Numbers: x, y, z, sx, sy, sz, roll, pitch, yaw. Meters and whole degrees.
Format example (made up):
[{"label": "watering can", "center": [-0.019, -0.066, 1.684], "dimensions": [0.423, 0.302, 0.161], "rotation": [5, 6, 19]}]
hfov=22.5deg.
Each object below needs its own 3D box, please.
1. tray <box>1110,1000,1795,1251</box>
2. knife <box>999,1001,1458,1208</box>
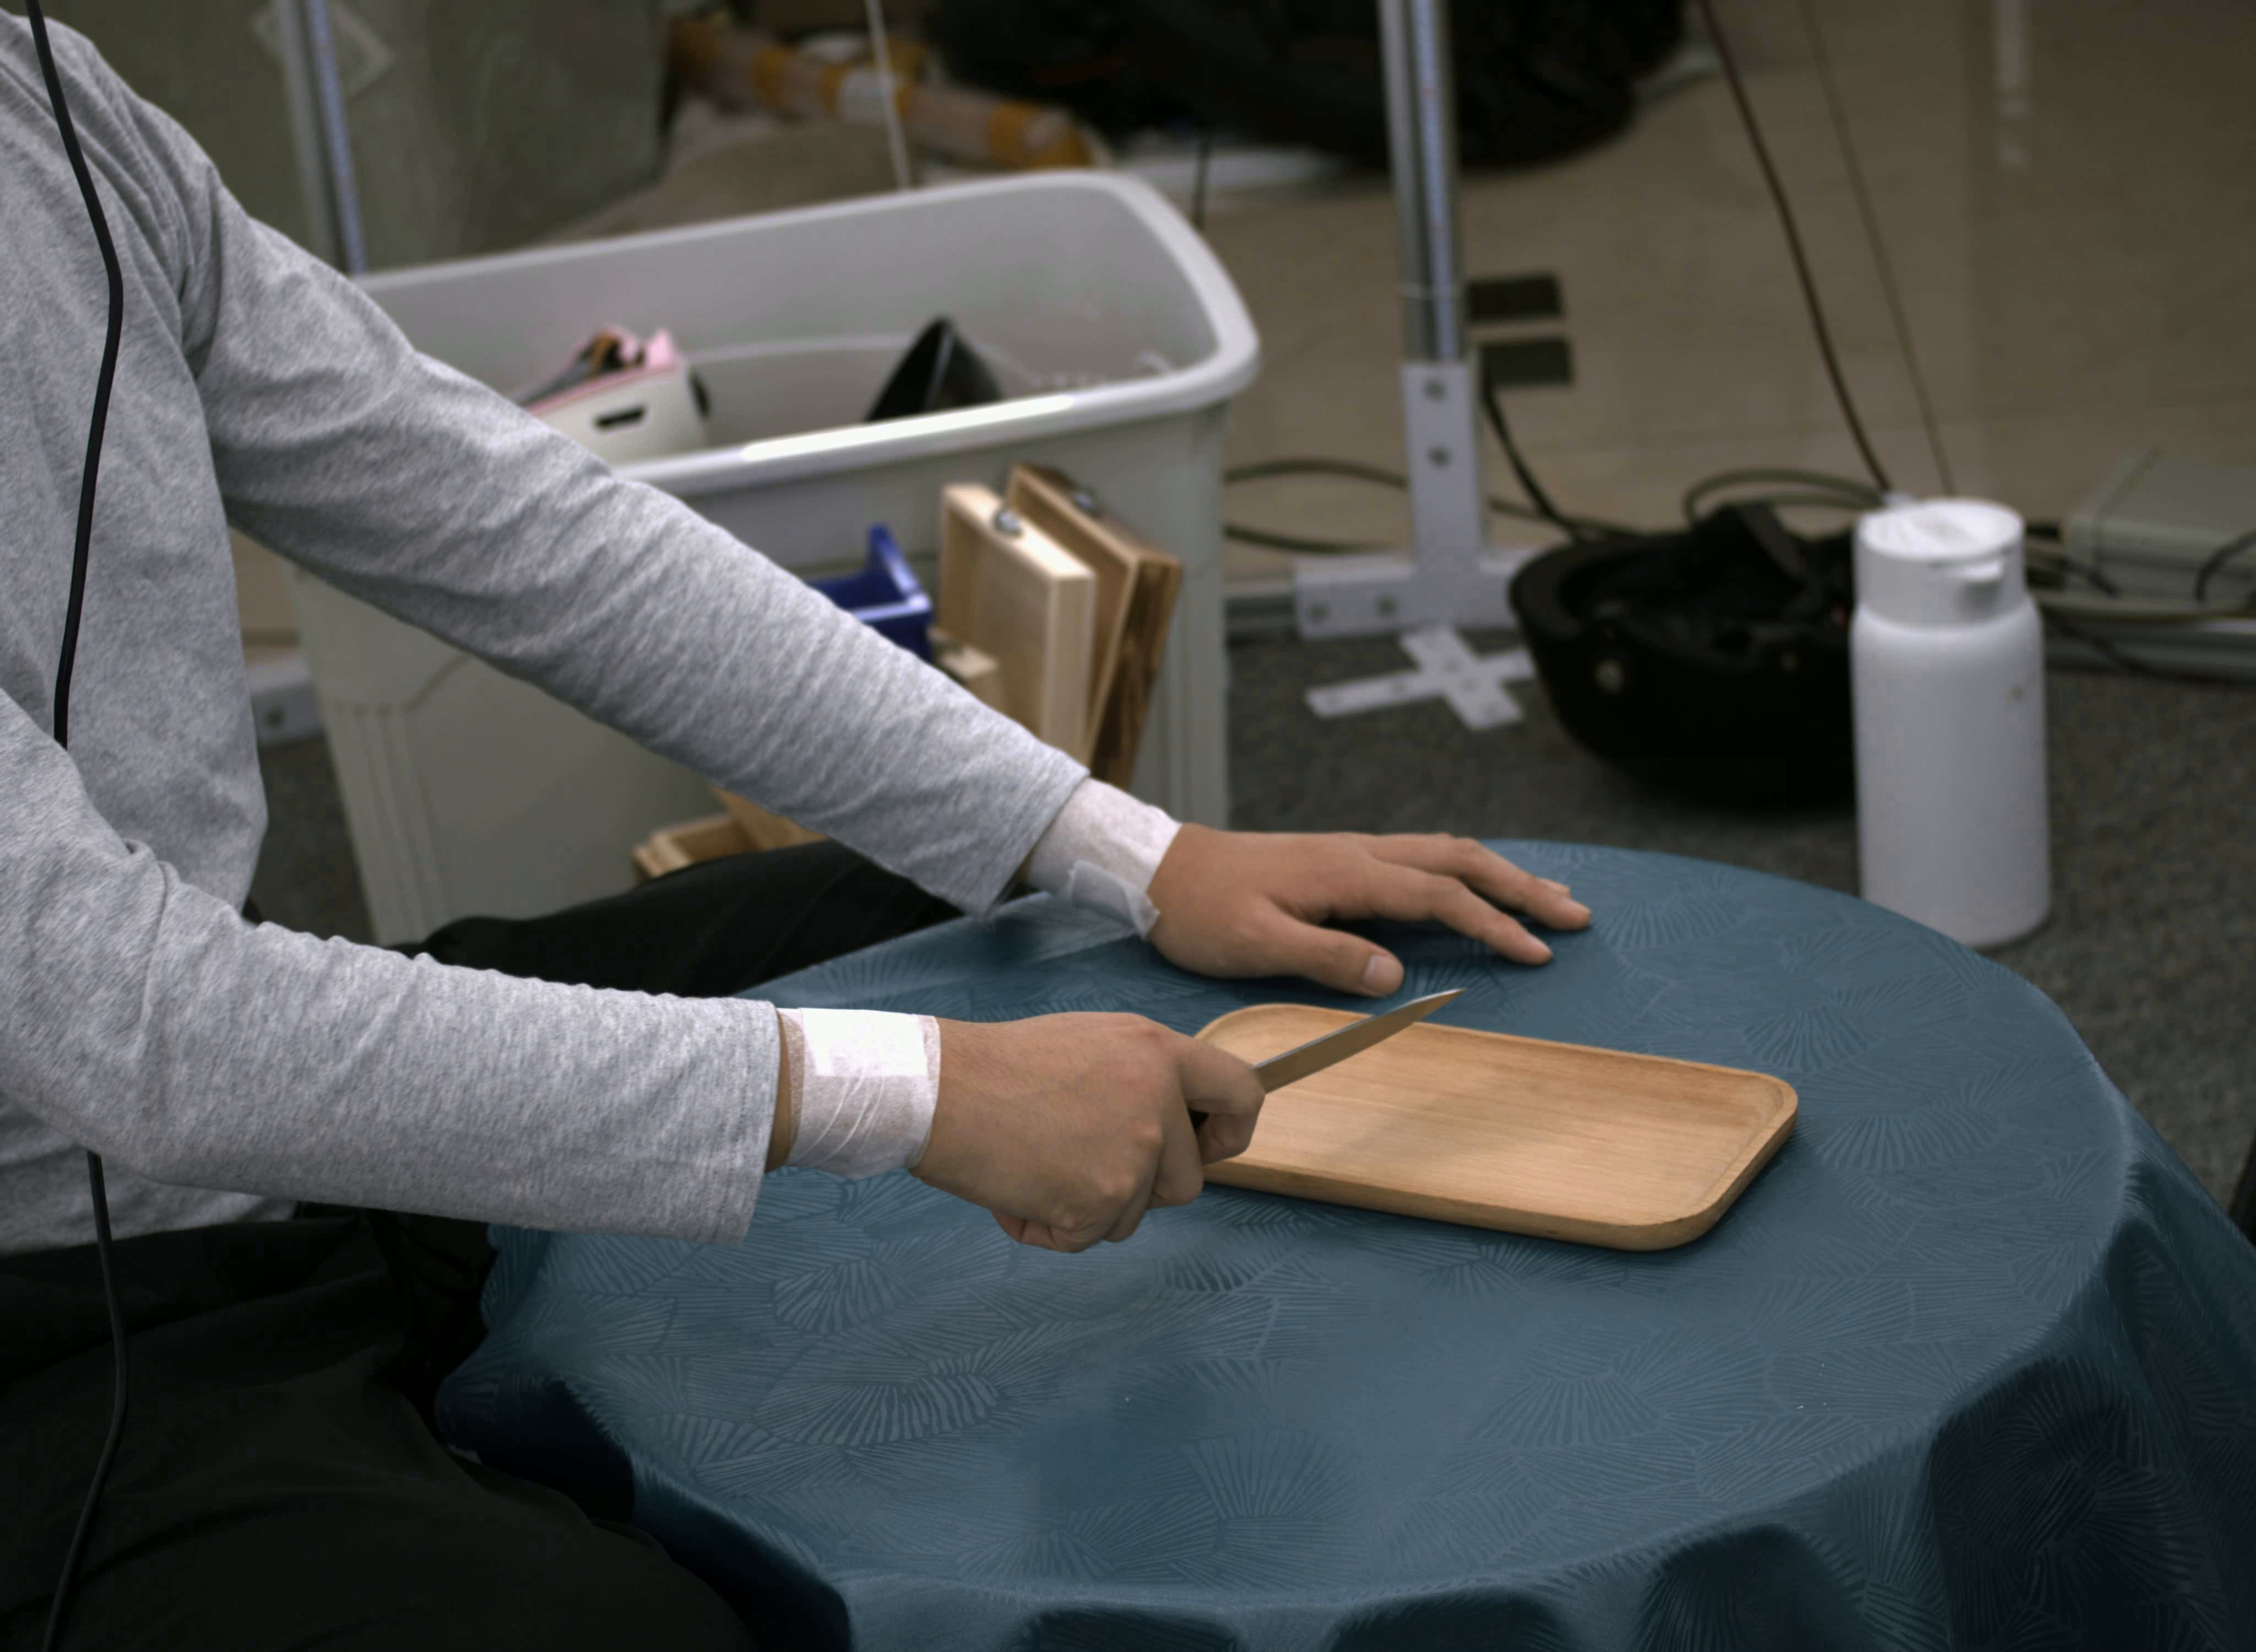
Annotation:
[{"label": "tray", "center": [0.122, 0.113, 2.158], "dimensions": [0.249, 0.023, 0.129], "rotation": [7, 25, 30]}, {"label": "knife", "center": [0.043, 0.097, 2.101], "dimensions": [0.236, 0.025, 0.016], "rotation": [-20, 59, -40]}]
